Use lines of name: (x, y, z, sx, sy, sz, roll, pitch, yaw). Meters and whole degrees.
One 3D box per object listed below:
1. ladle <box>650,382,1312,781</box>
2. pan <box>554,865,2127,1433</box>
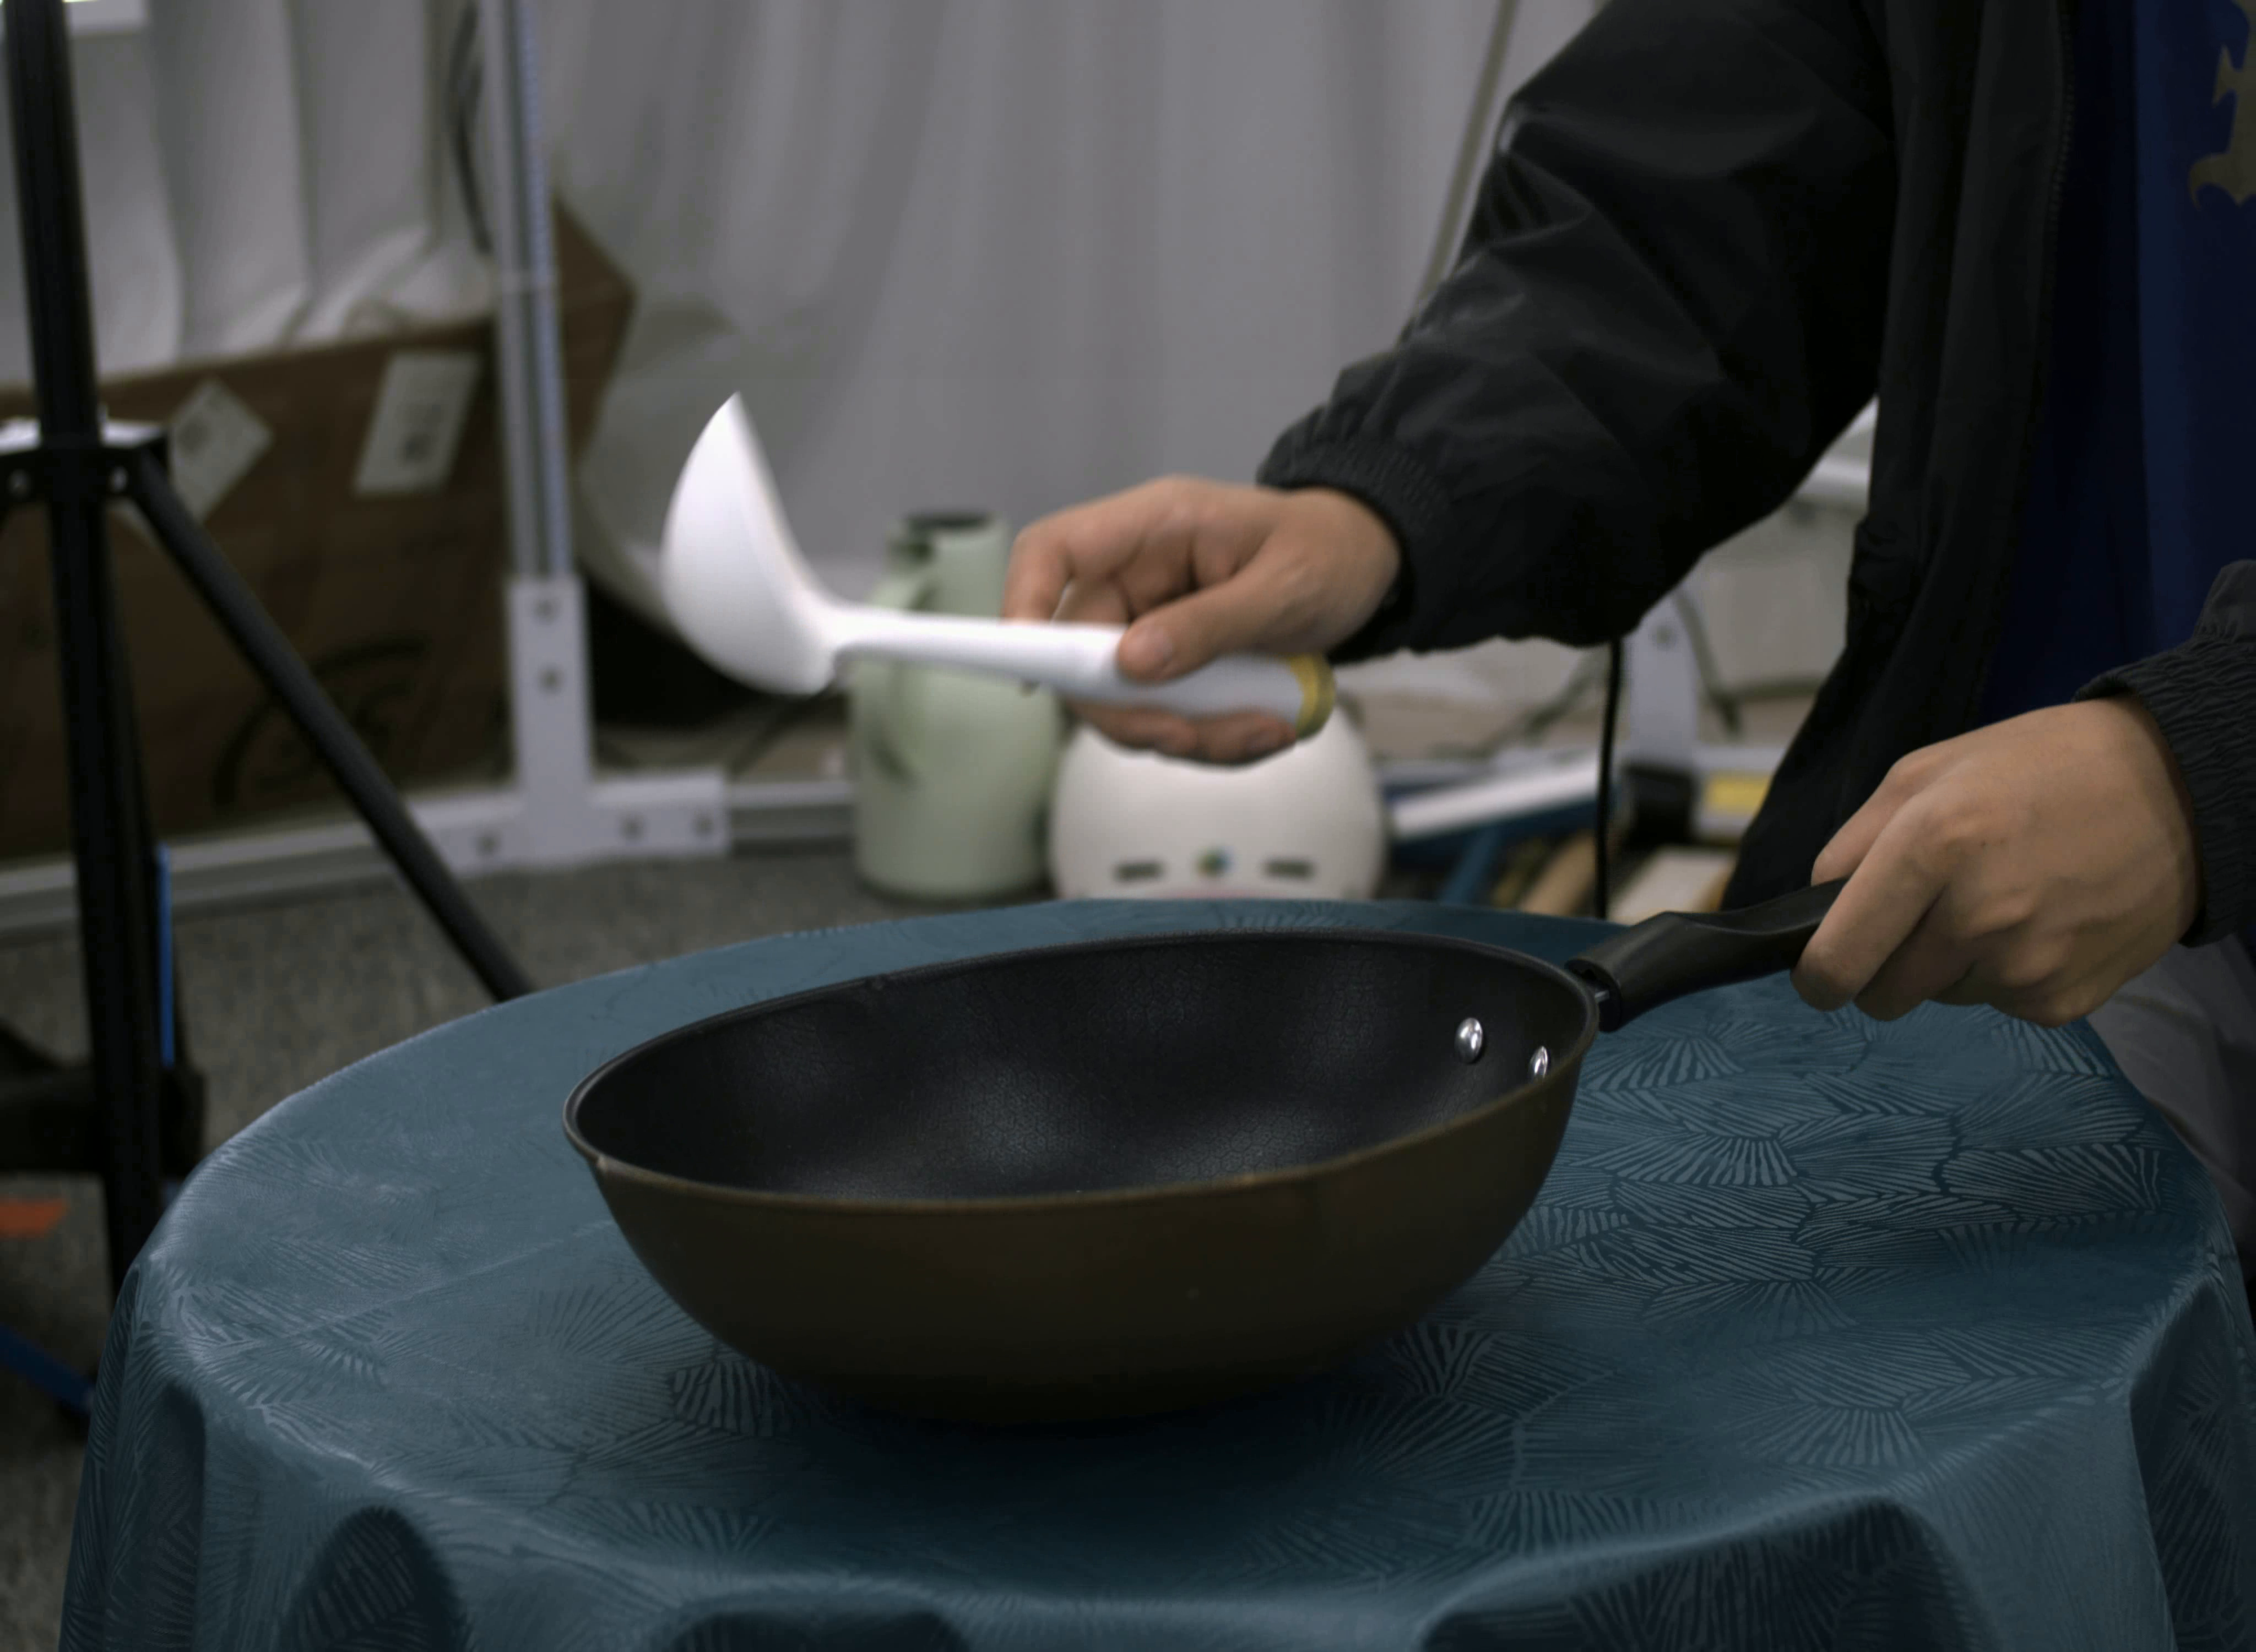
ladle: (-0.036, -0.063, 1.628, 0.285, 0.091, 0.070, 14, -44, -44)
pan: (0.072, 0.084, 1.450, 0.454, 0.087, 0.293, -10, 13, -21)
